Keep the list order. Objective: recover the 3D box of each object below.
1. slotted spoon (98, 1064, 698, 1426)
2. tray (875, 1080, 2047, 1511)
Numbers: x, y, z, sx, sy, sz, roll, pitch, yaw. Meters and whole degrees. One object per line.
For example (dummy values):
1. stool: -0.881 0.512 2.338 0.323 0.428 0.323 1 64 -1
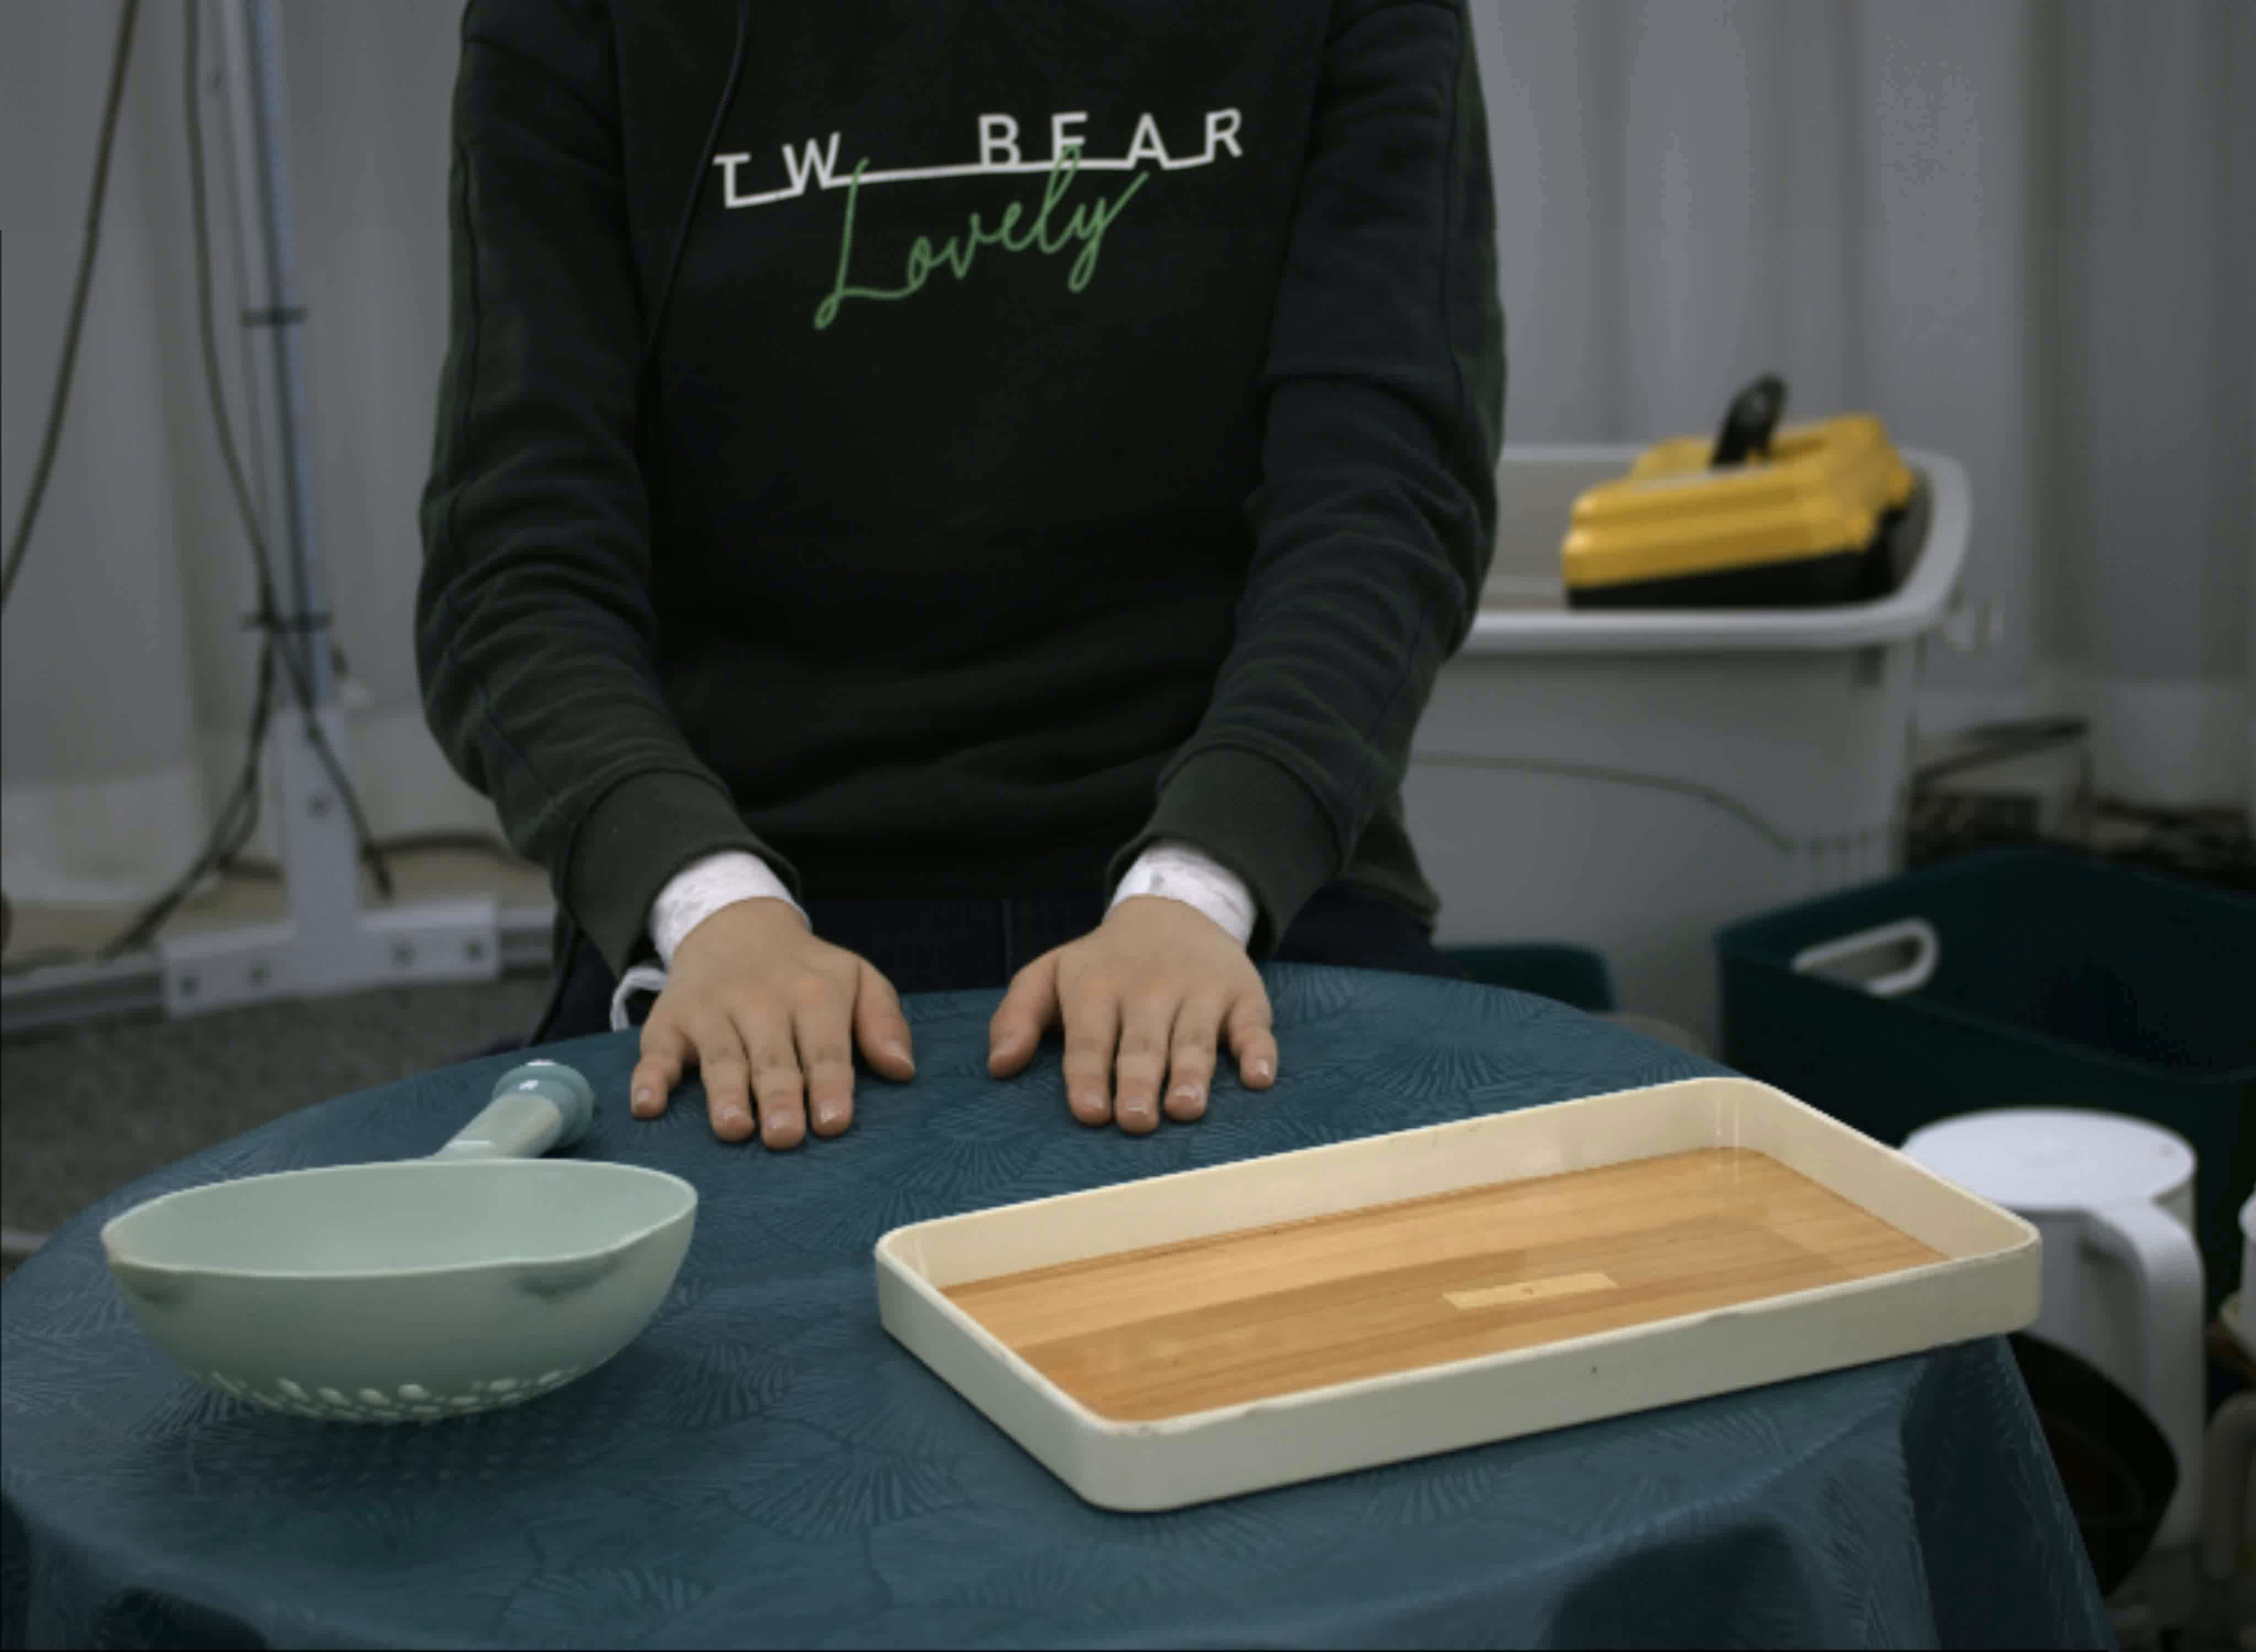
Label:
1. slotted spoon: -0.199 0.110 1.646 0.169 0.075 0.361 -1 15 4
2. tray: 0.094 0.132 1.582 0.299 0.027 0.193 -8 16 -21
